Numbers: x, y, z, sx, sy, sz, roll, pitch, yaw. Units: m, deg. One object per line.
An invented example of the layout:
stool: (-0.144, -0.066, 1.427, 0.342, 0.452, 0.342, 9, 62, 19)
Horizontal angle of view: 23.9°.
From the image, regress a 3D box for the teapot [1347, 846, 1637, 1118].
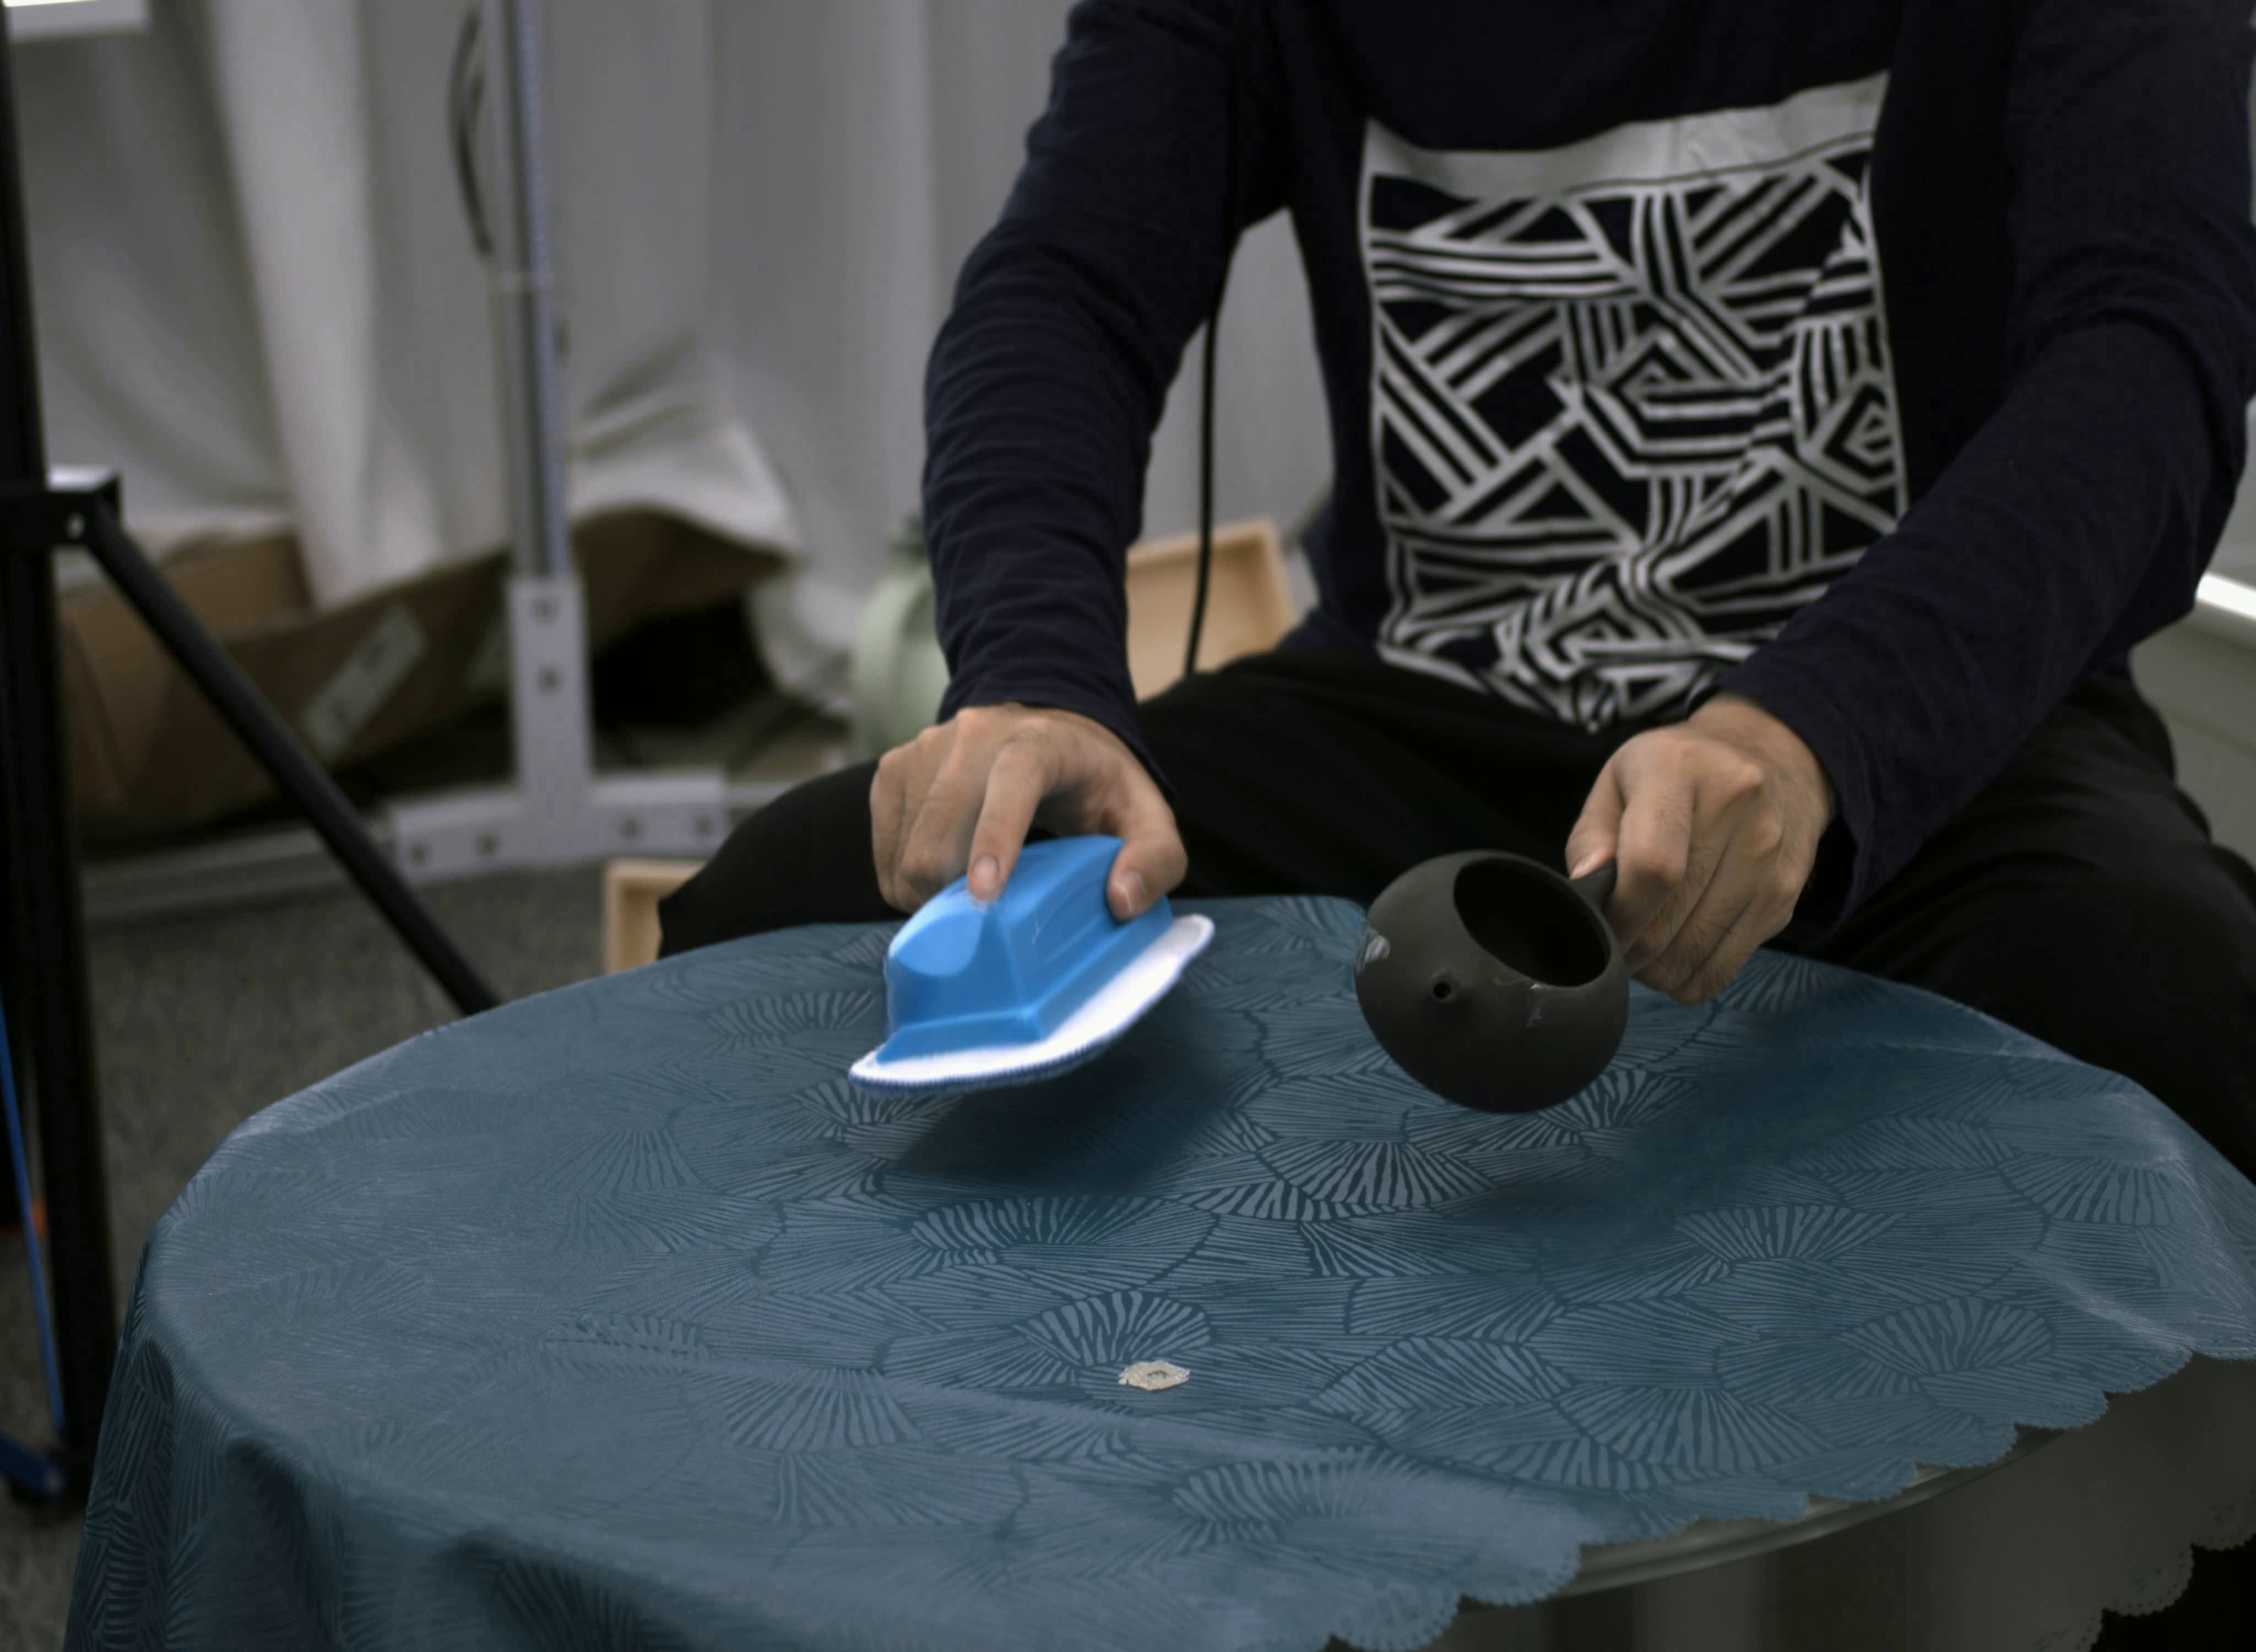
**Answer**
teapot: (0.112, 0.040, 1.546, 0.112, 0.053, 0.084, -25, 68, -42)

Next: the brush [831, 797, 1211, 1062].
brush: (-0.033, 0.029, 1.630, 0.085, 0.056, 0.142, -6, 16, 24)
